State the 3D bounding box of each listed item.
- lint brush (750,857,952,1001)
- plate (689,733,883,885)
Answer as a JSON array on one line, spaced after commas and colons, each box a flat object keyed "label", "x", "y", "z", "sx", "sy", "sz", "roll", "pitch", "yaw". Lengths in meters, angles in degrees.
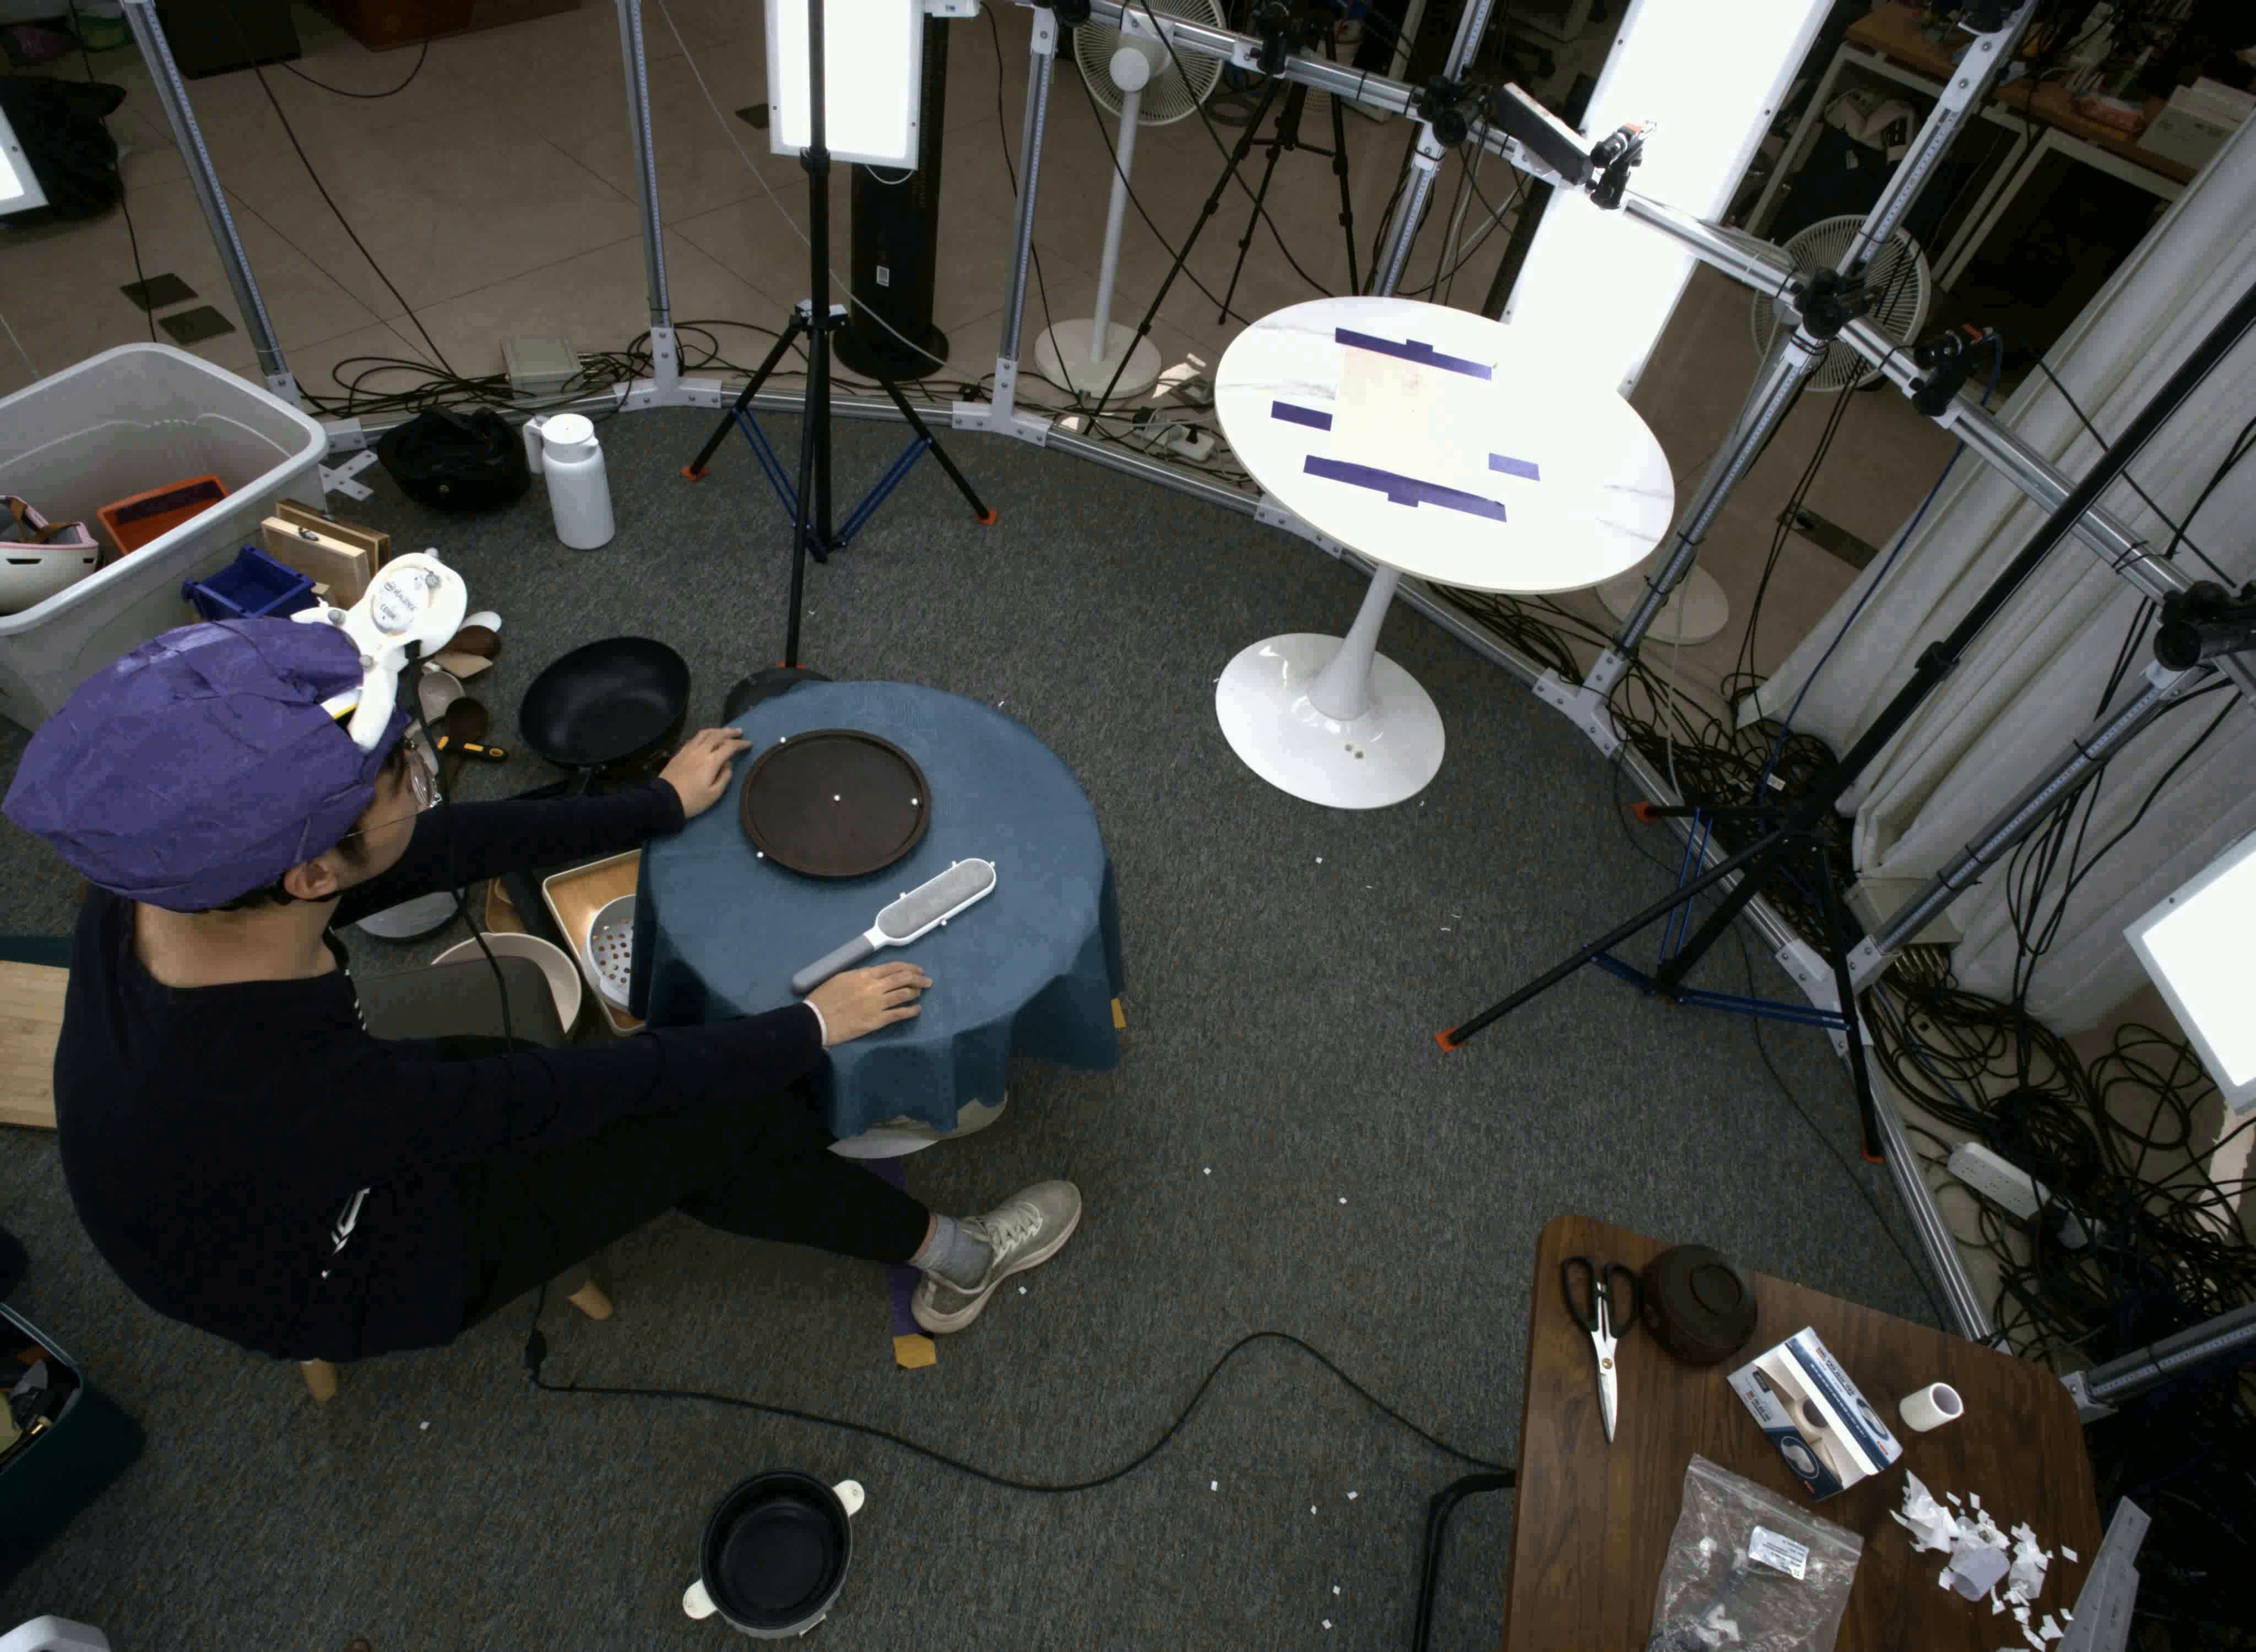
[{"label": "lint brush", "x": -0.347, "y": 0.126, "z": 1.644, "sx": 0.309, "sy": 0.021, "sz": 0.059, "roll": -35, "pitch": 74, "yaw": -32}, {"label": "plate", "x": -0.455, "y": -0.025, "z": 1.730, "sx": 0.254, "sy": 0.029, "sz": 0.250, "roll": 8, "pitch": 51, "yaw": -8}]
